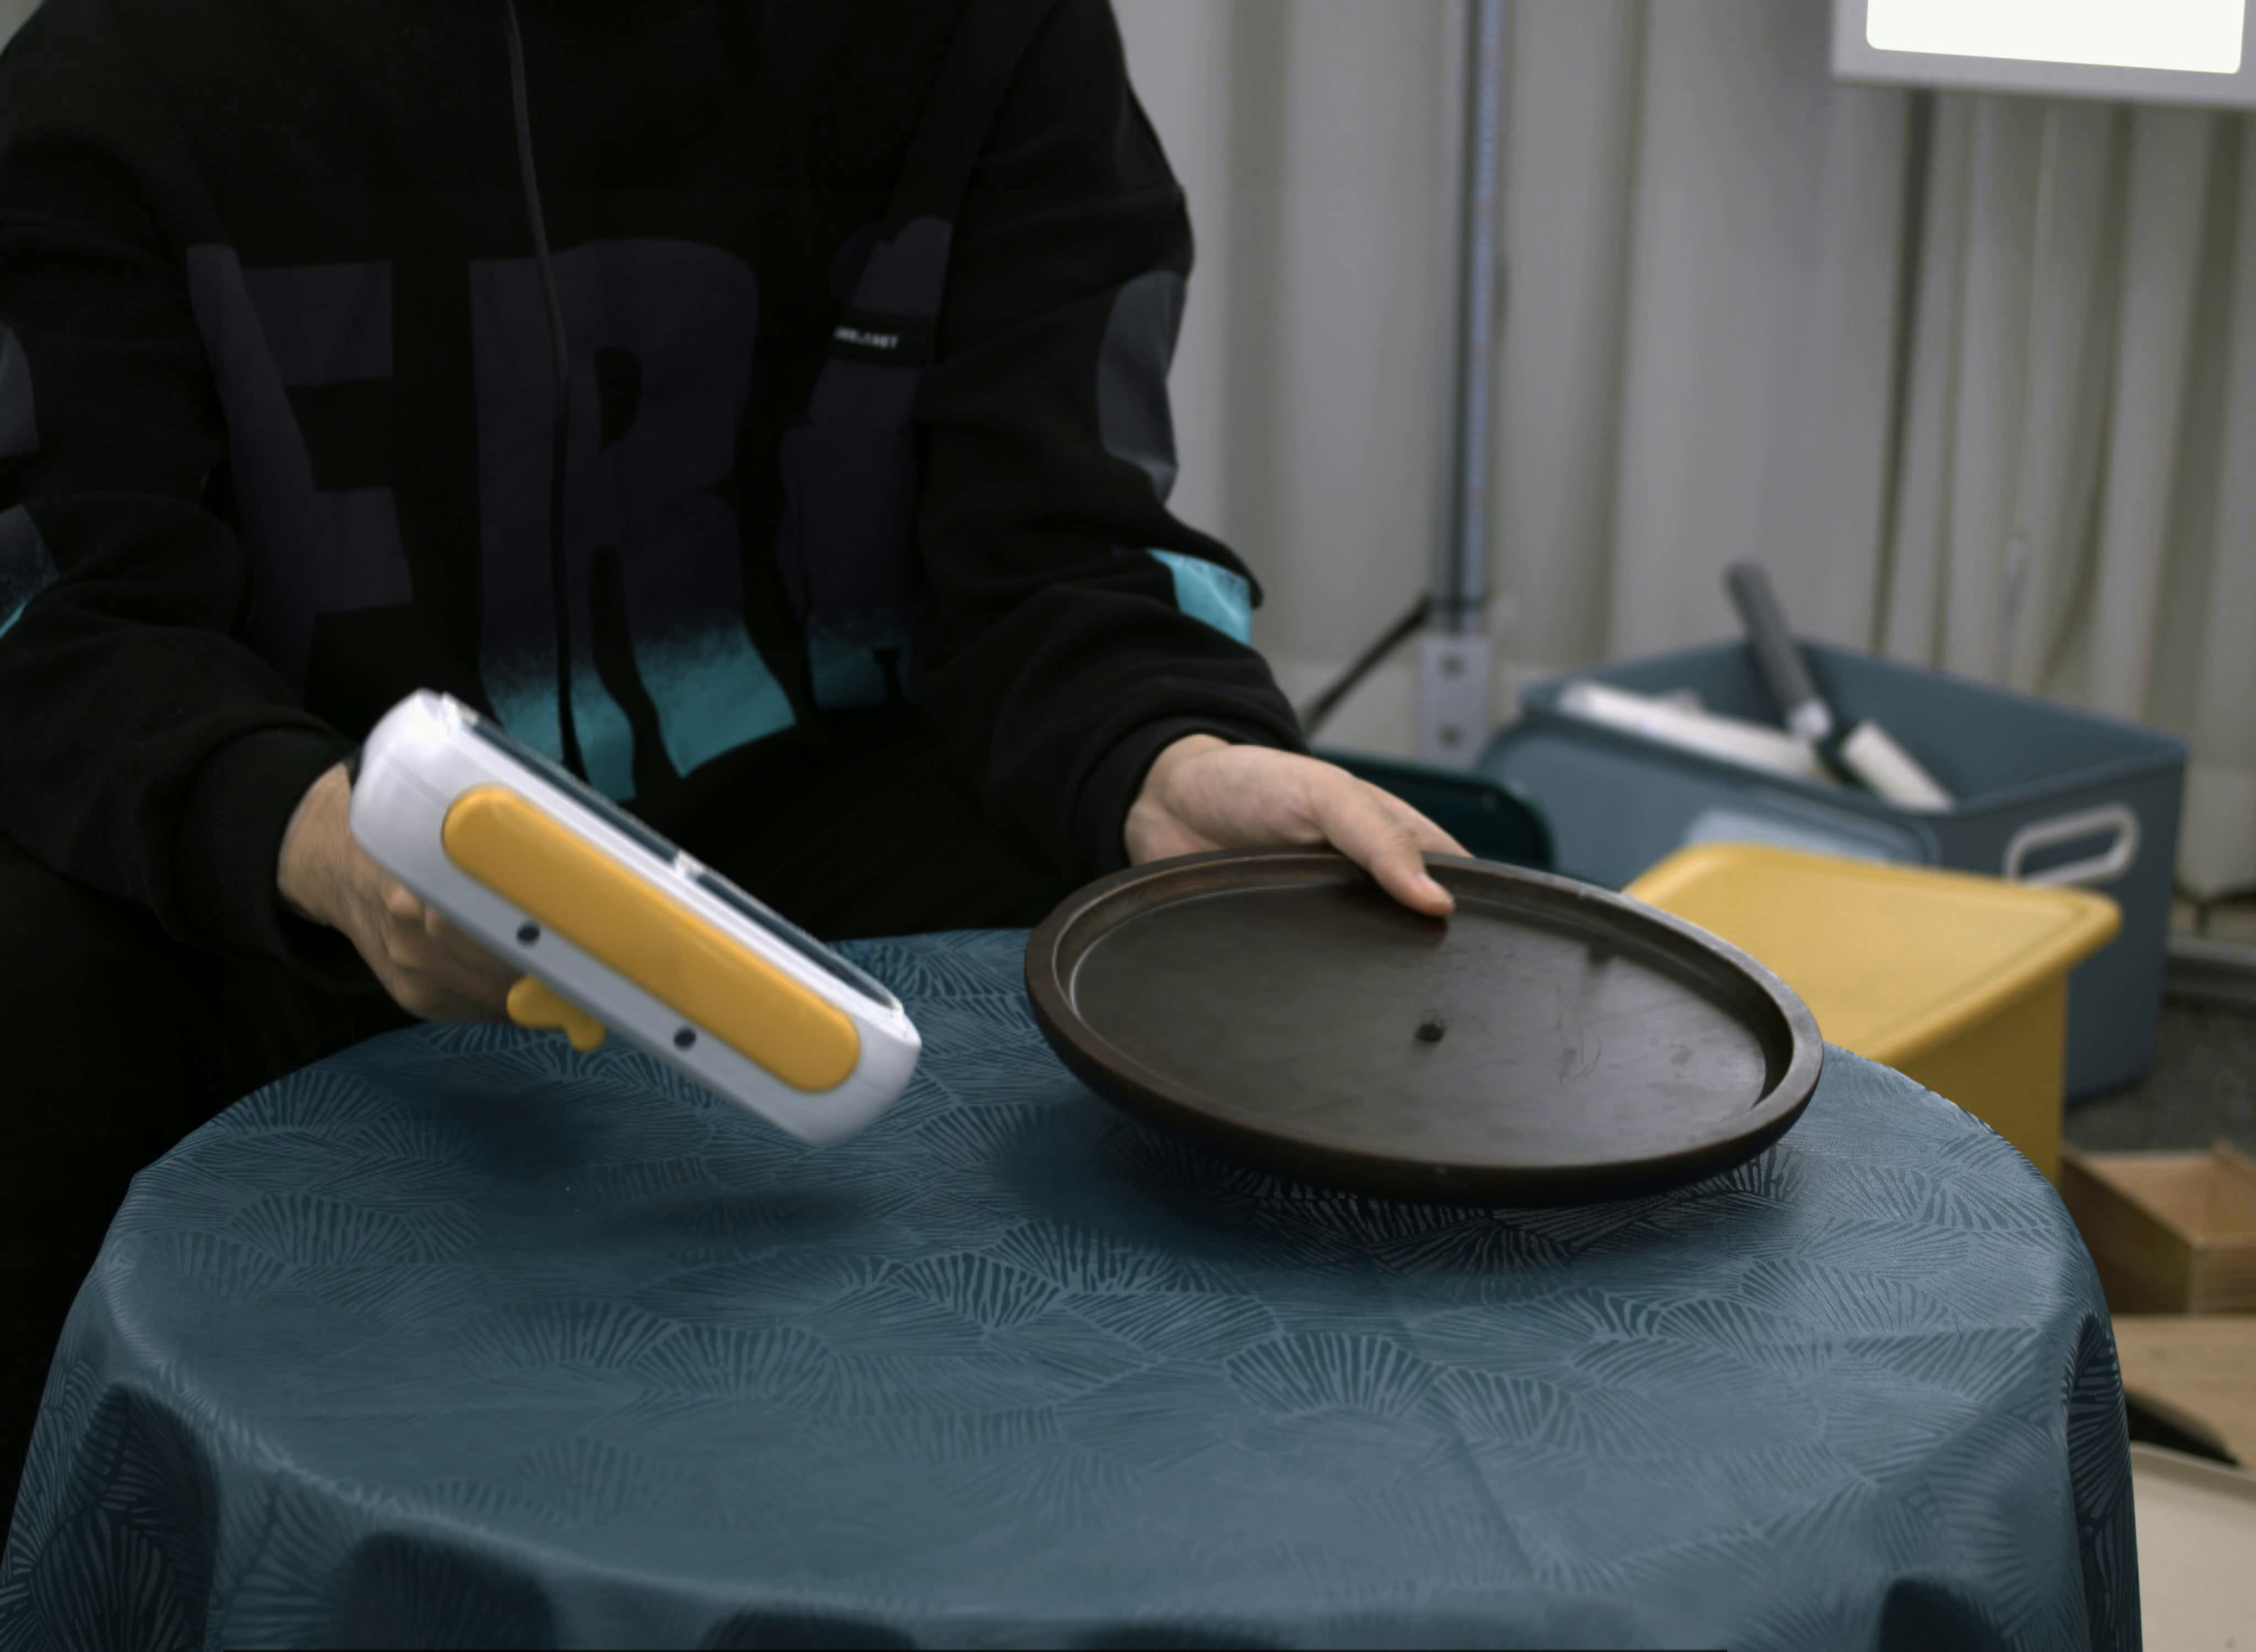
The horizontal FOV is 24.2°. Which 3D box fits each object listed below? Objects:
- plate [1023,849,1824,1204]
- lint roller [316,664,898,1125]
[{"bbox_3d":[0.092,0.061,1.655,0.254,0.029,0.253,6,19,-2],"label":"plate"},{"bbox_3d":[-0.171,0.023,1.622,0.194,0.074,0.191,31,-3,-15],"label":"lint roller"}]
